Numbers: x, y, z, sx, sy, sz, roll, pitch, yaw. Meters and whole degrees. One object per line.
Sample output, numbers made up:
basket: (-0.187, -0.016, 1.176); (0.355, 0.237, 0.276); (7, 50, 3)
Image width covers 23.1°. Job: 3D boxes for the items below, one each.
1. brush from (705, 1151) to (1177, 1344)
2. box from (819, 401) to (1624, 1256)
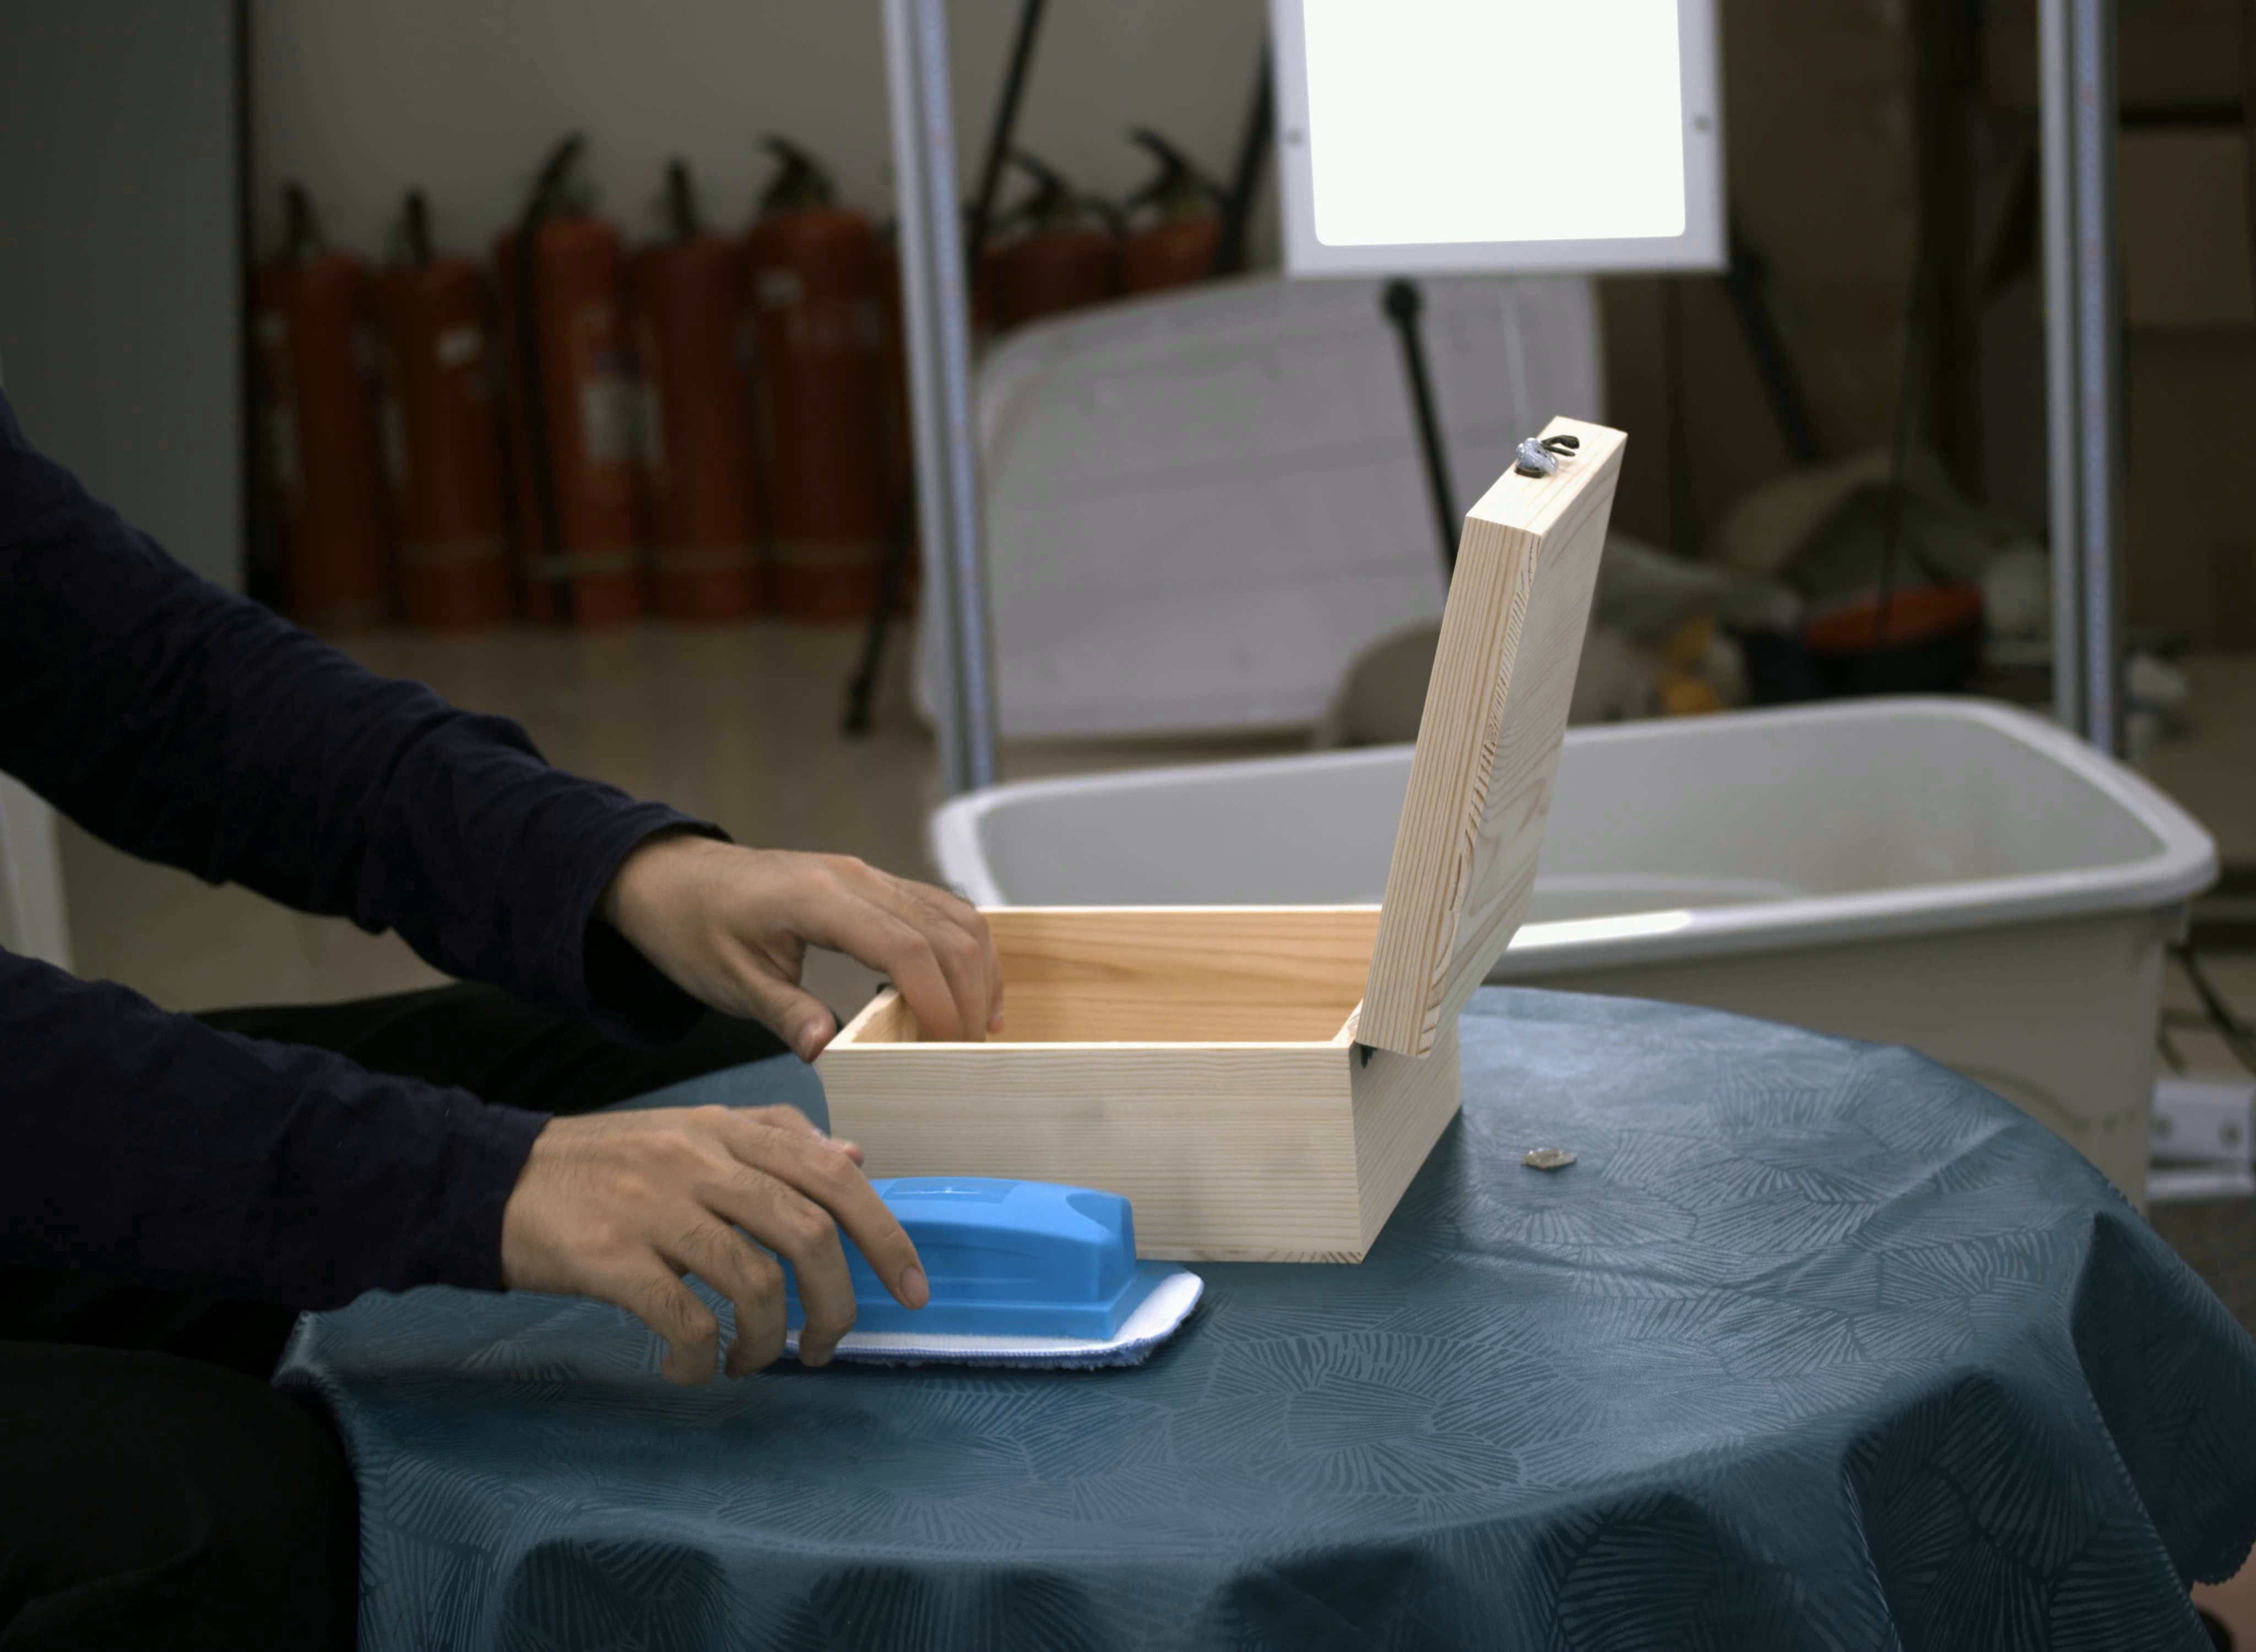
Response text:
brush: (-0.059, 0.134, 1.760); (0.146, 0.056, 0.082); (3, 12, 20)
box: (0.033, -0.001, 1.869); (0.268, 0.254, 0.179); (-1, 14, 15)
